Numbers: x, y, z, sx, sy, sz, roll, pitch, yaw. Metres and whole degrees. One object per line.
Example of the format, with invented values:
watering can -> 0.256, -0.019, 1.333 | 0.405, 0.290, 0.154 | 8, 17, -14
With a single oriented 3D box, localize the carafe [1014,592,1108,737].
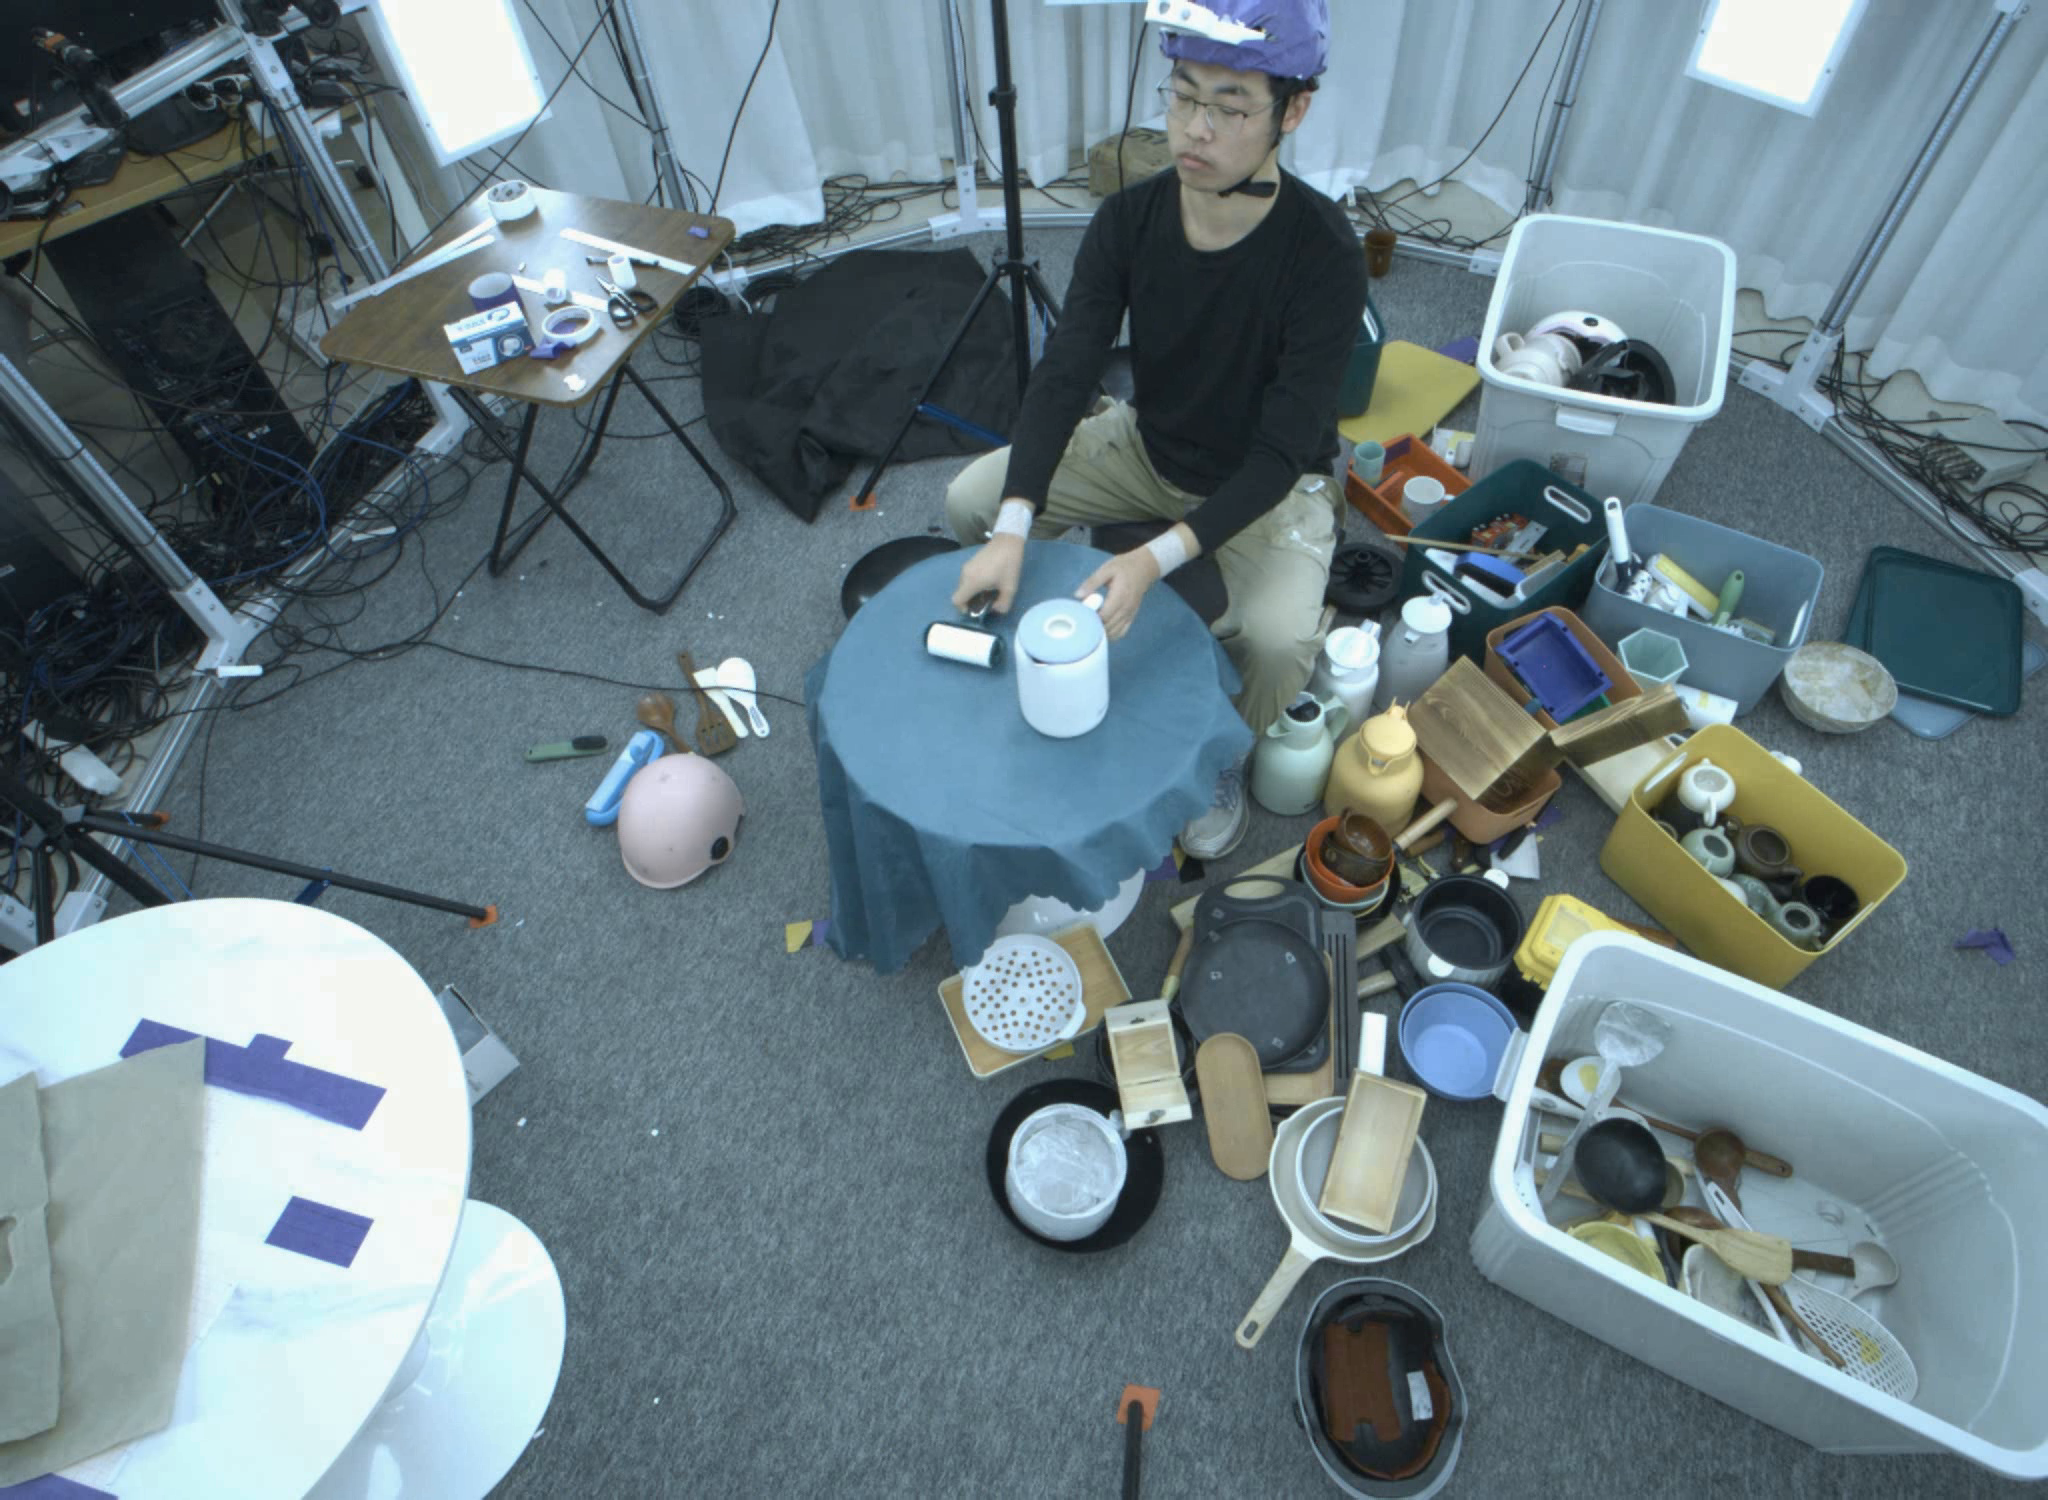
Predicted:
carafe -> 0.066, -0.135, 1.775 | 0.130, 0.184, 0.191 | 24, 57, 18

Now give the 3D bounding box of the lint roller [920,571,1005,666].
lint roller -> -0.073, -0.219, 1.901 | 0.133, 0.049, 0.180 | 17, 66, 13
